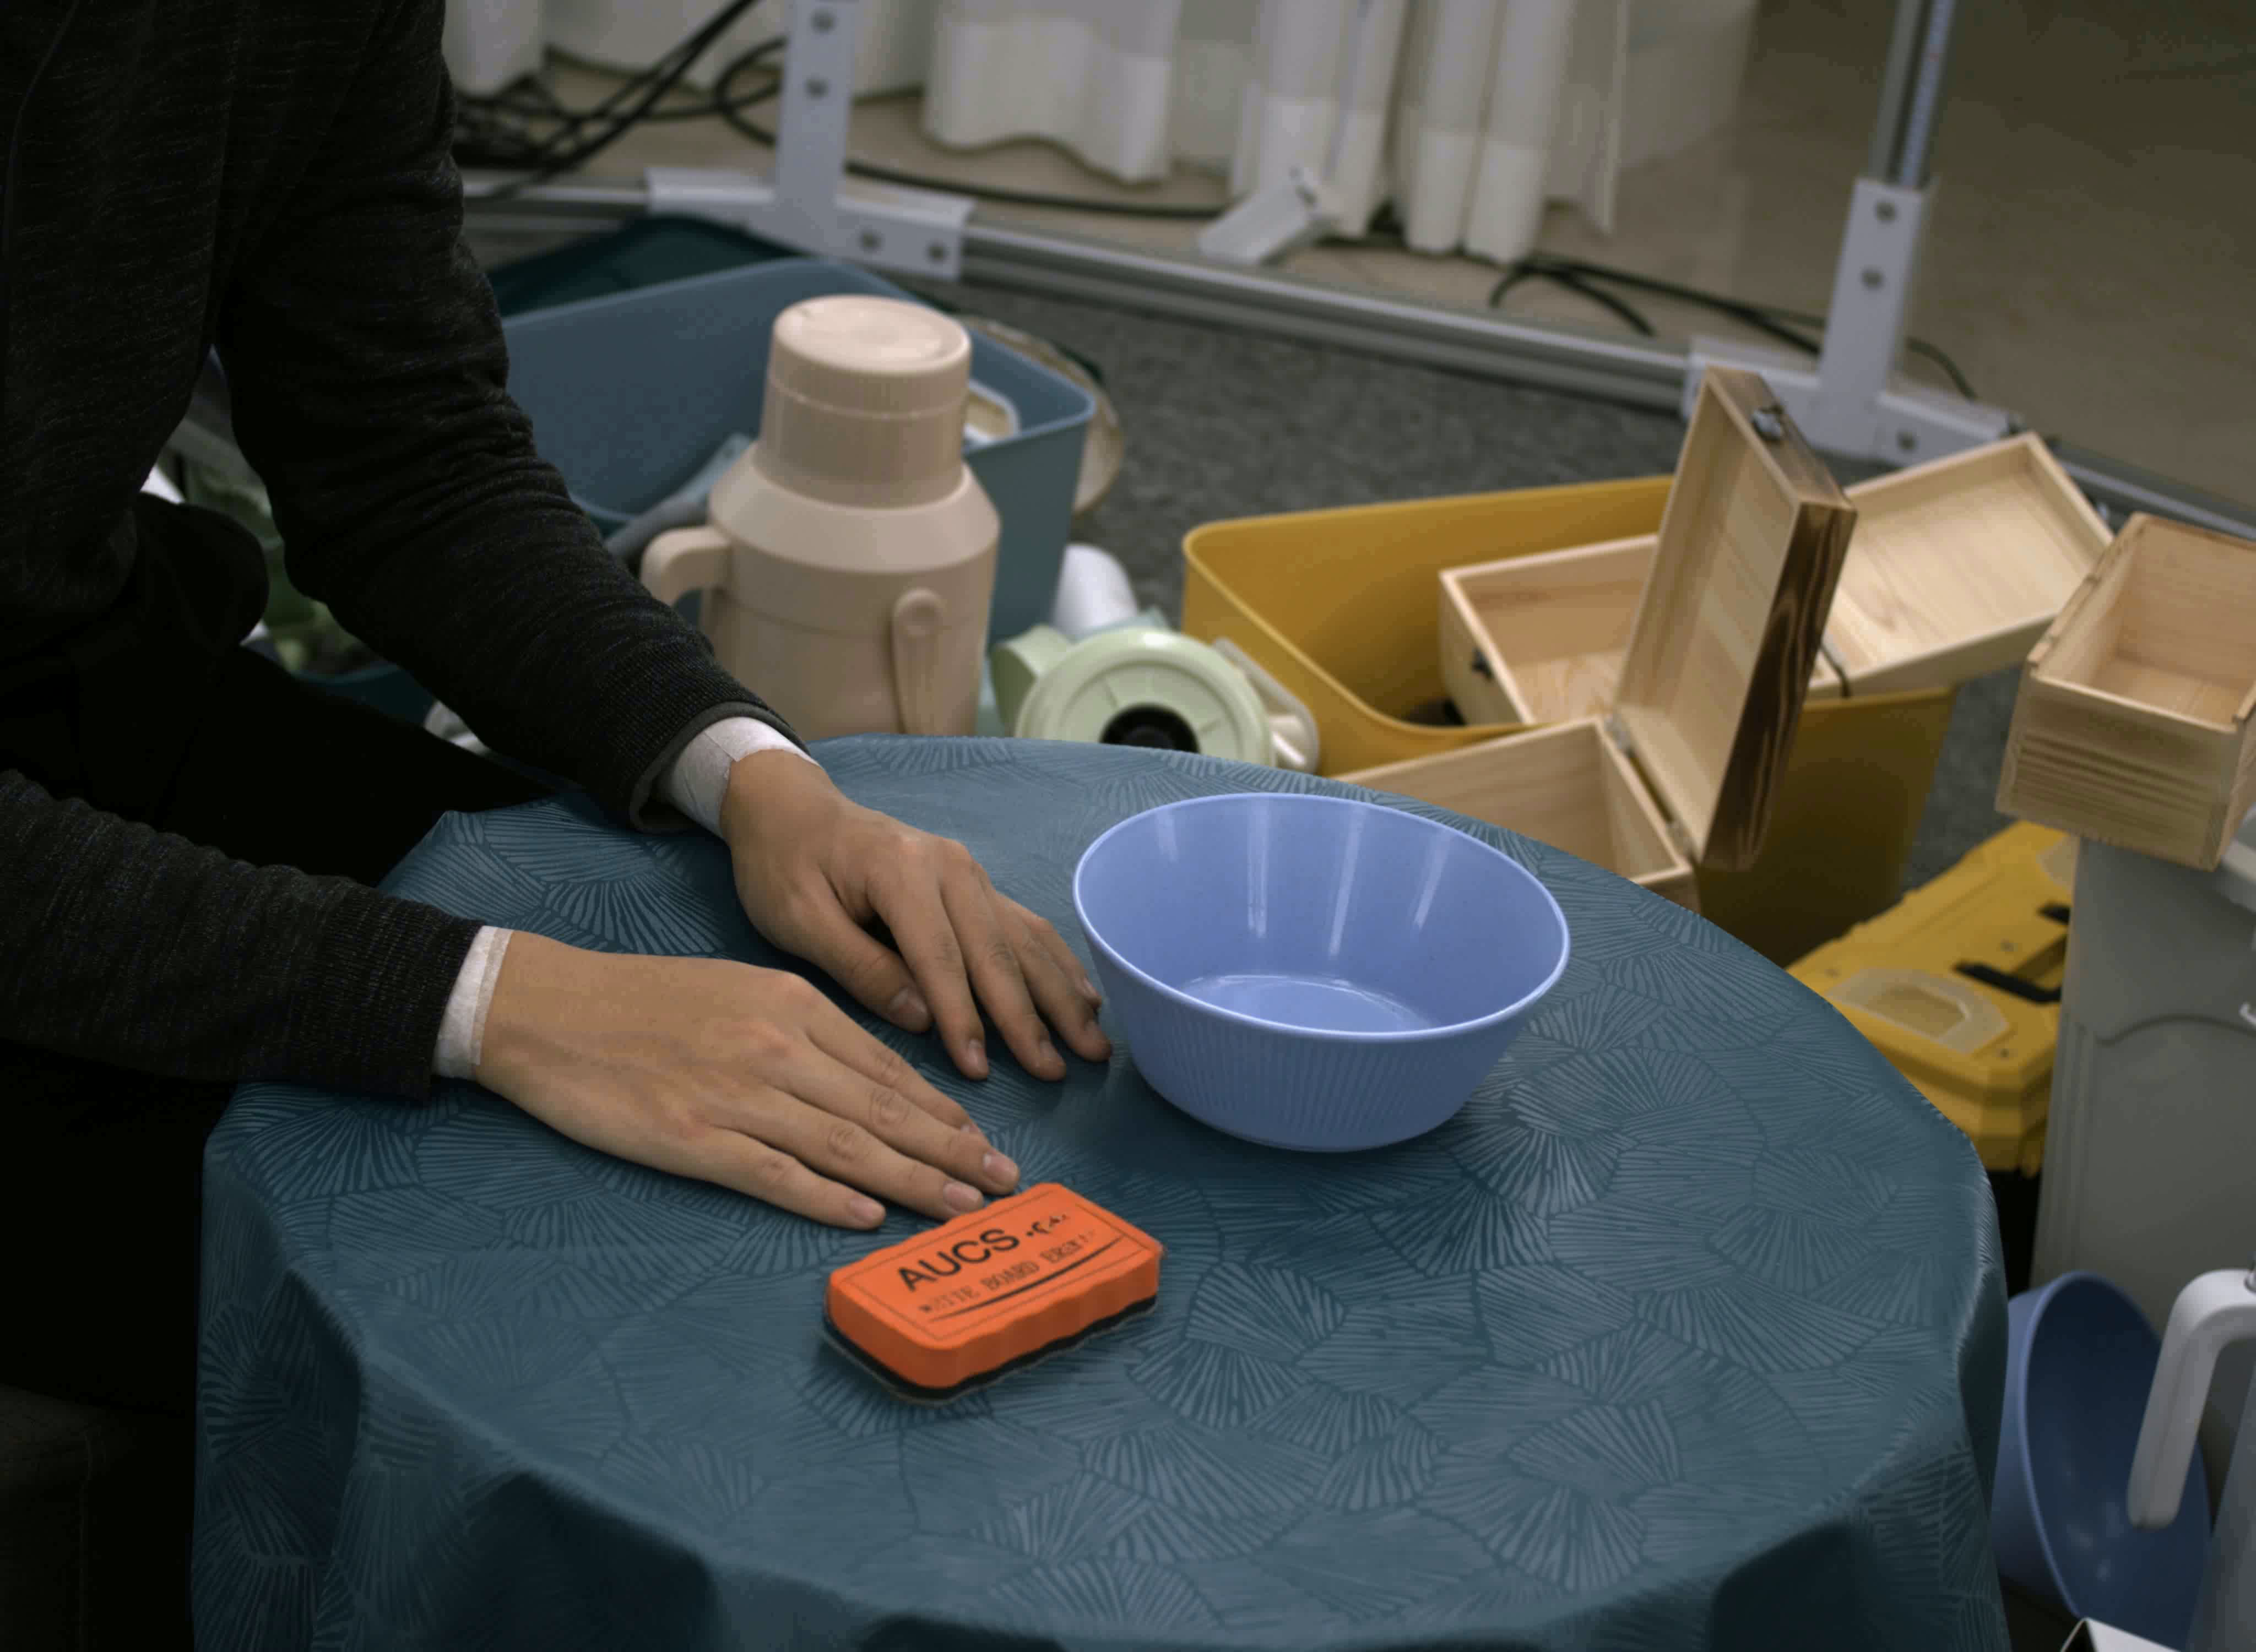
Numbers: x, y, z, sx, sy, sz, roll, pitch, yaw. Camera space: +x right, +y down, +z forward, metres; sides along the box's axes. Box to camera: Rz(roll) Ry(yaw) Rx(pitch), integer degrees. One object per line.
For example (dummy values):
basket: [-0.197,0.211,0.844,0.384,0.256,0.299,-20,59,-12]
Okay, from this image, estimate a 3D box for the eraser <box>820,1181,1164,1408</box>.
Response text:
eraser: [-0.043,0.150,1.713,0.107,0.023,0.059,-20,40,-40]

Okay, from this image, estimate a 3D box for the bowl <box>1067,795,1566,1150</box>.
bowl: [0.063,0.057,1.870,0.175,0.070,0.177,5,27,-3]
